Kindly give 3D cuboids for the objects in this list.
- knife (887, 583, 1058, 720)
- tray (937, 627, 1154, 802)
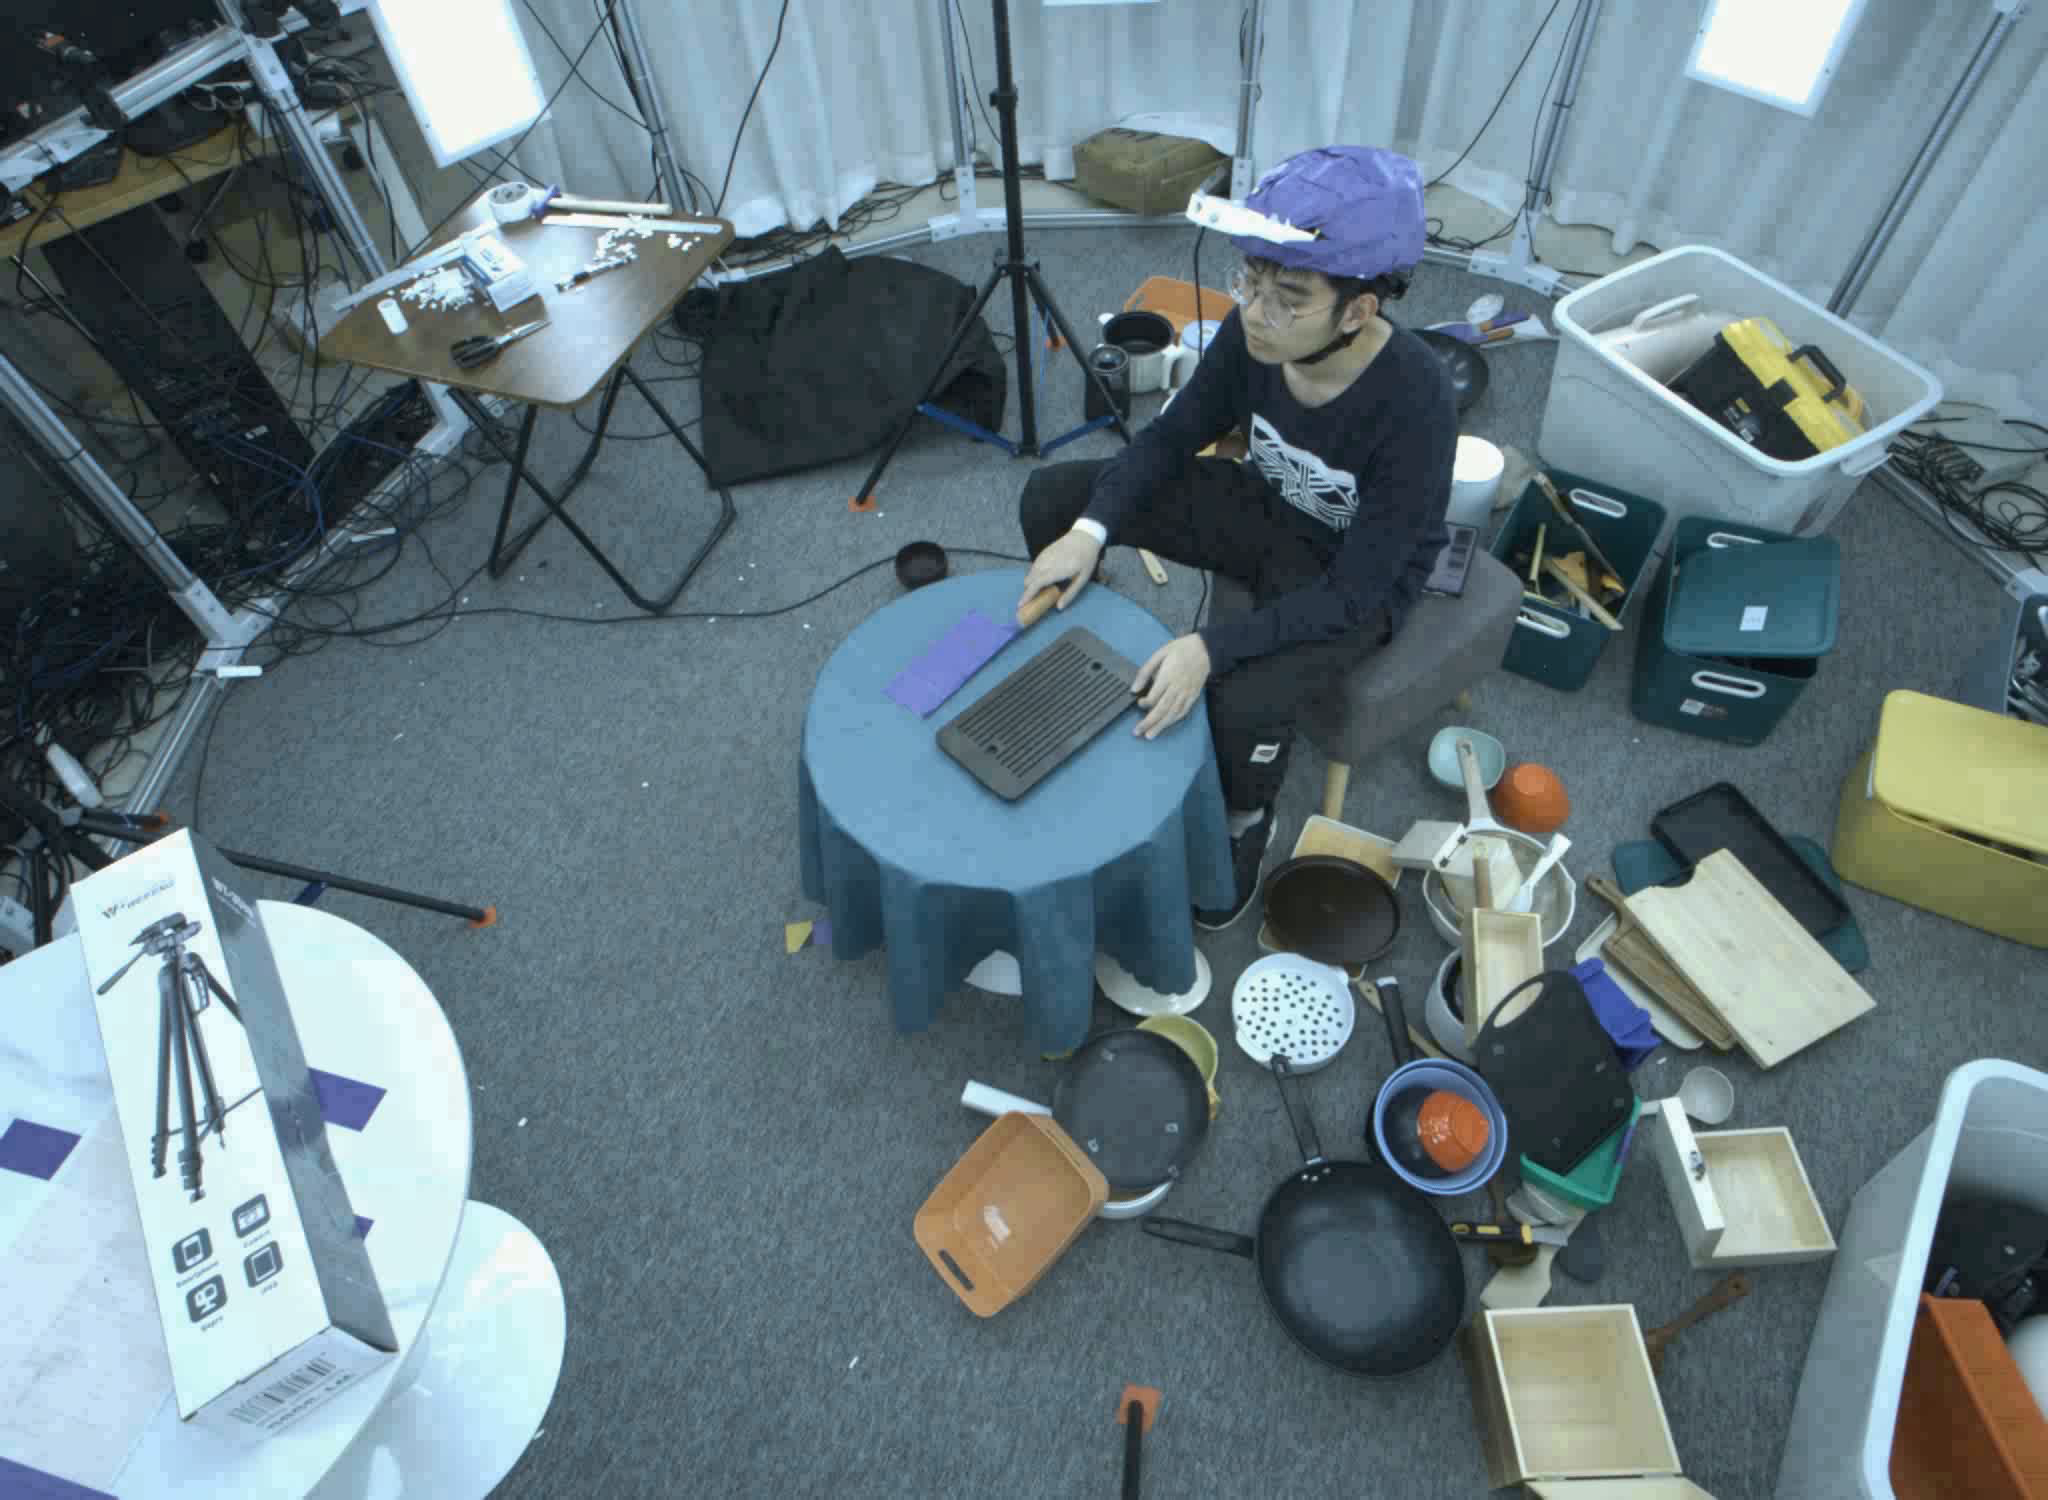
[{"bbox_3d":[-0.081,-0.171,1.903,0.102,0.032,0.317,34,62,23],"label":"knife"},{"bbox_3d":[0.034,-0.057,1.824,0.308,0.019,0.167,-39,62,-24],"label":"tray"}]
